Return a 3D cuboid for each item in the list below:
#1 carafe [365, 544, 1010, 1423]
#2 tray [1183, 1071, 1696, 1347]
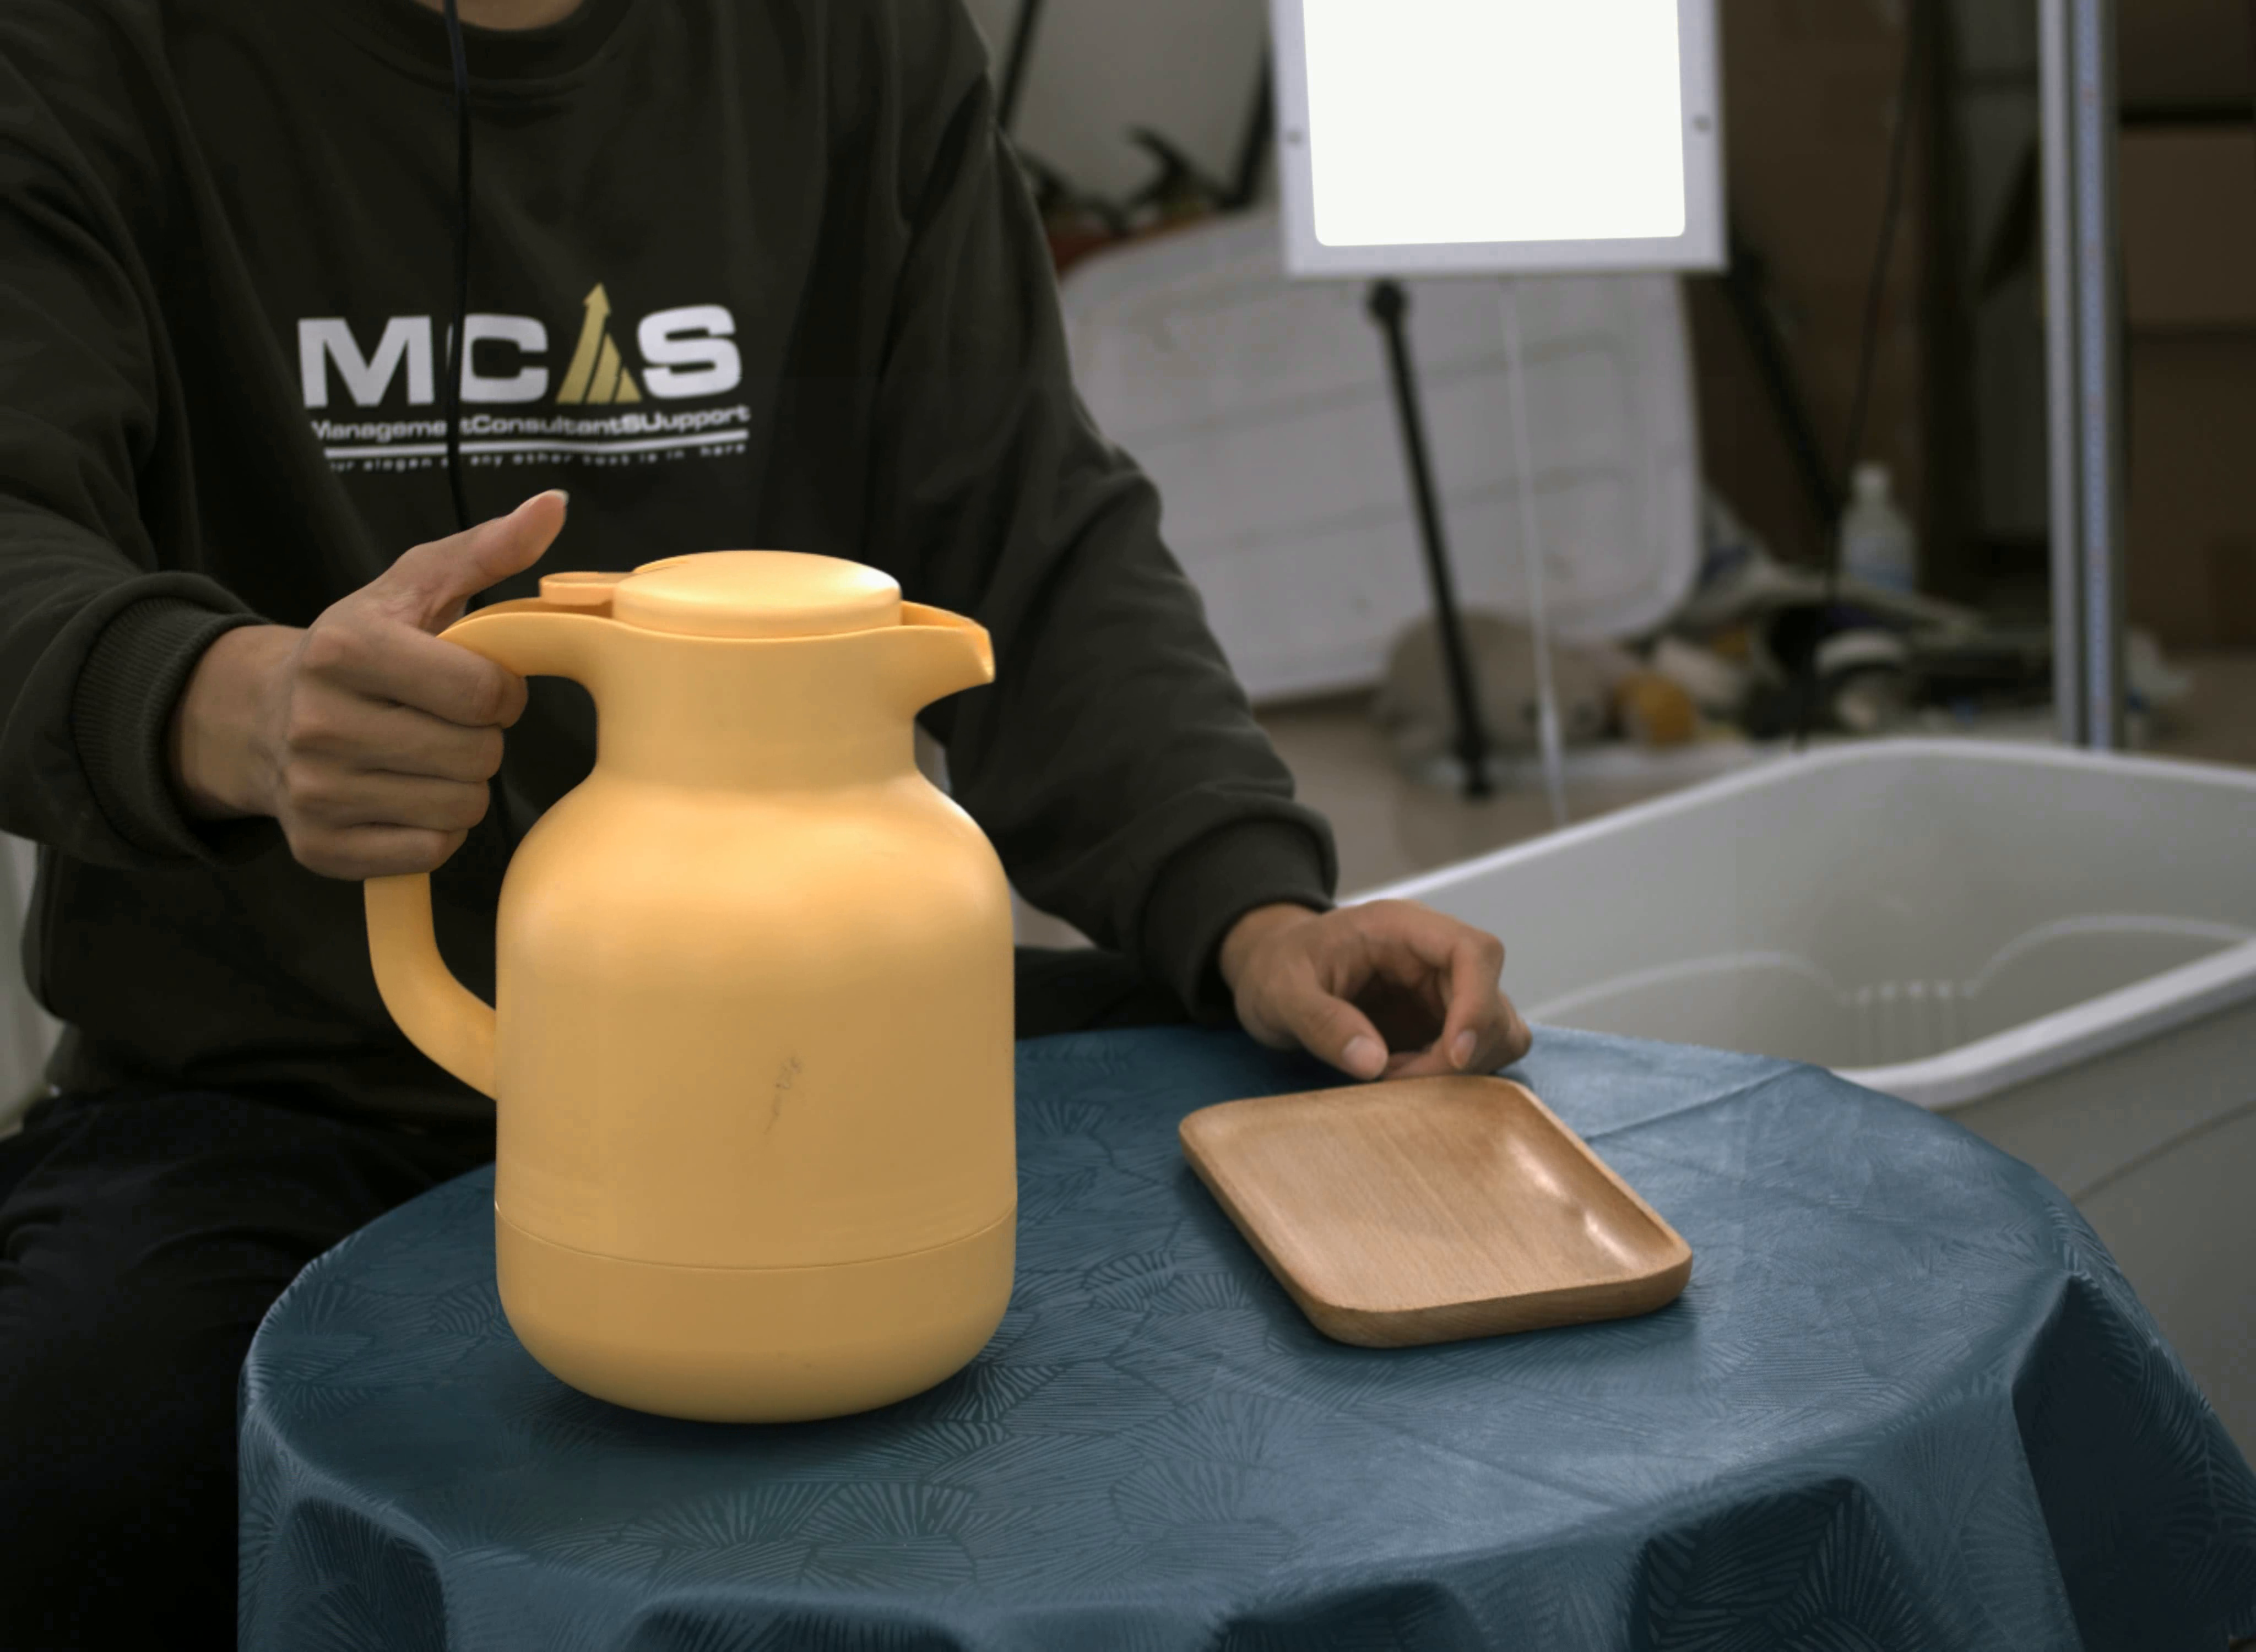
[{"bbox_3d":[-0.136,0.043,1.712,0.203,0.261,0.161,4,11,11],"label":"carafe"},{"bbox_3d":[0.100,0.125,1.833,0.129,0.023,0.252,-5,12,-9],"label":"tray"}]
